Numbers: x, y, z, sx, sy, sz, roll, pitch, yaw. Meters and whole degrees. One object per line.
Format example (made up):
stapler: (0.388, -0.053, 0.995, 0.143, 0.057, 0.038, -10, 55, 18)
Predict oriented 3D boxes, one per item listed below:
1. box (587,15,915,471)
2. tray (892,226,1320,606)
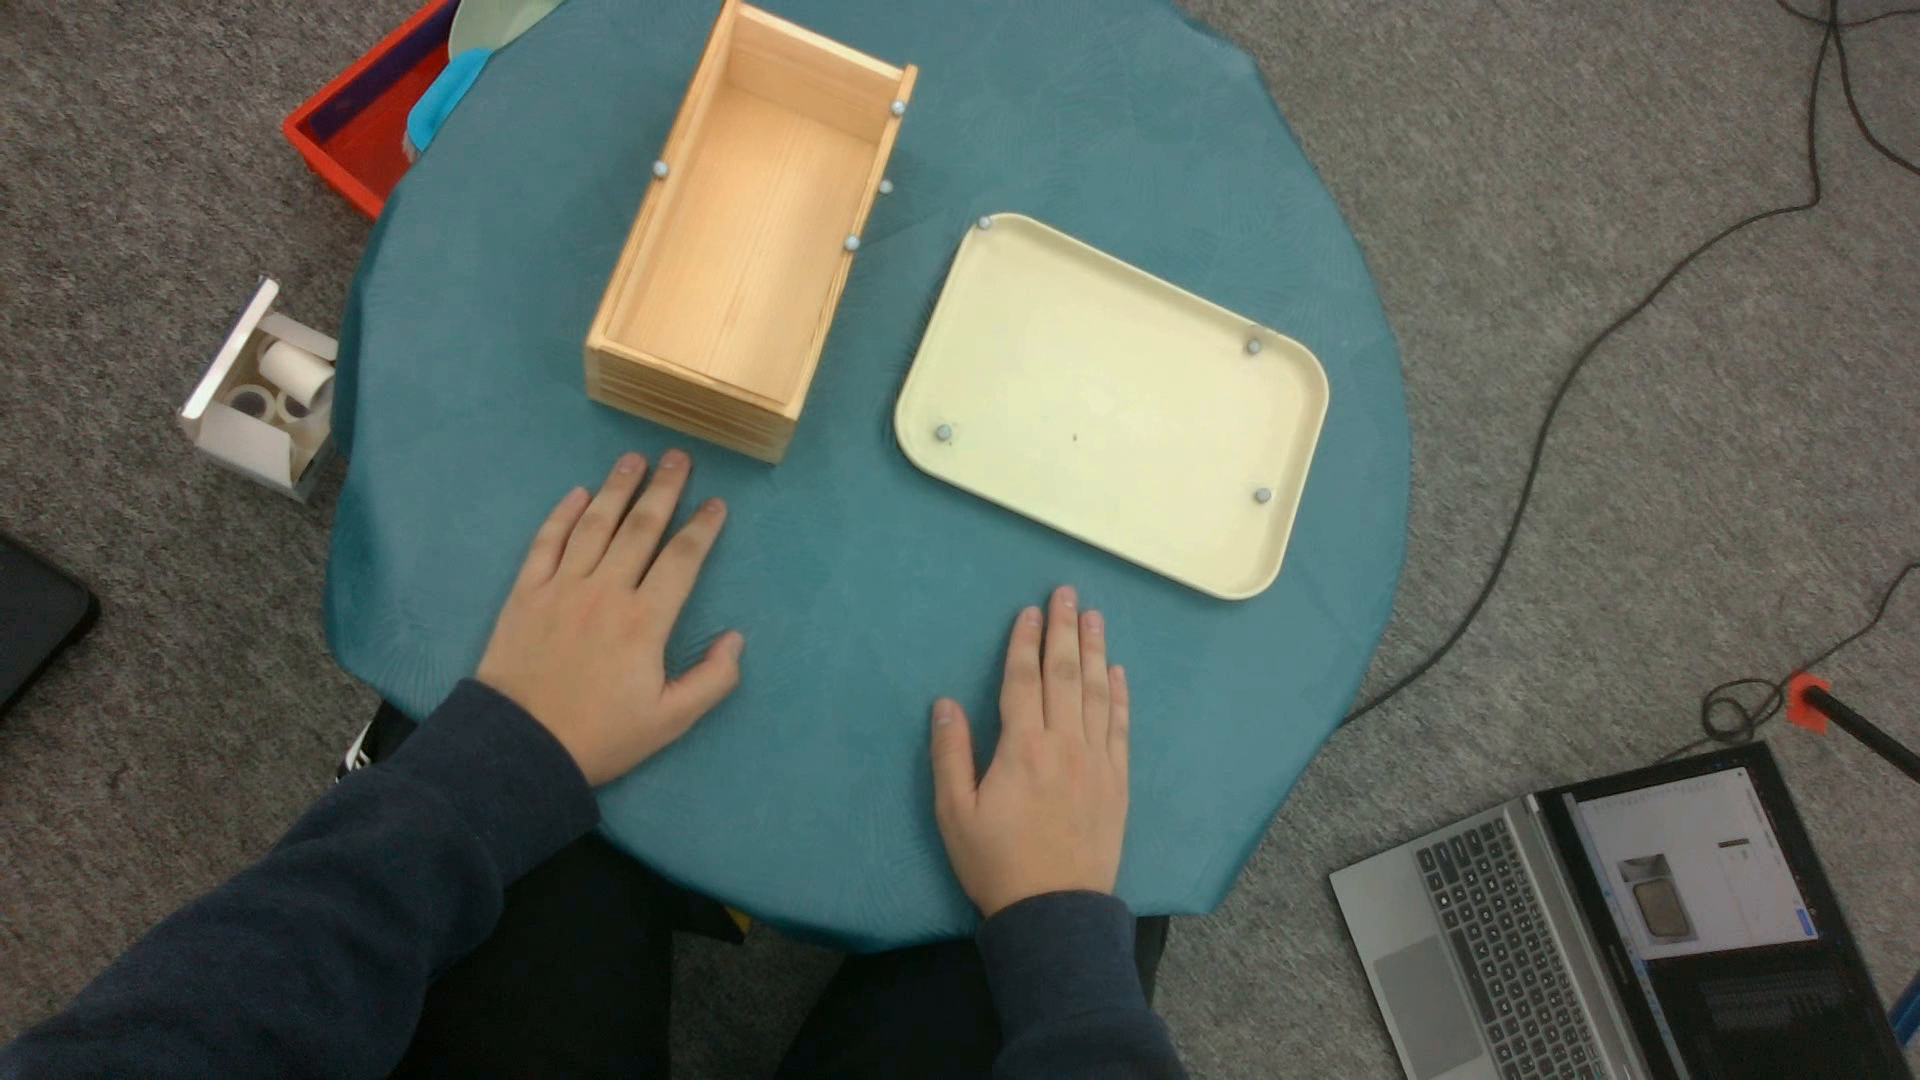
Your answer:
box: (-0.111, -0.159, 0.742, 0.107, 0.080, 0.212, 19, 72, -9)
tray: (0.089, -0.072, 0.805, 0.240, 0.017, 0.172, 23, 72, -8)
